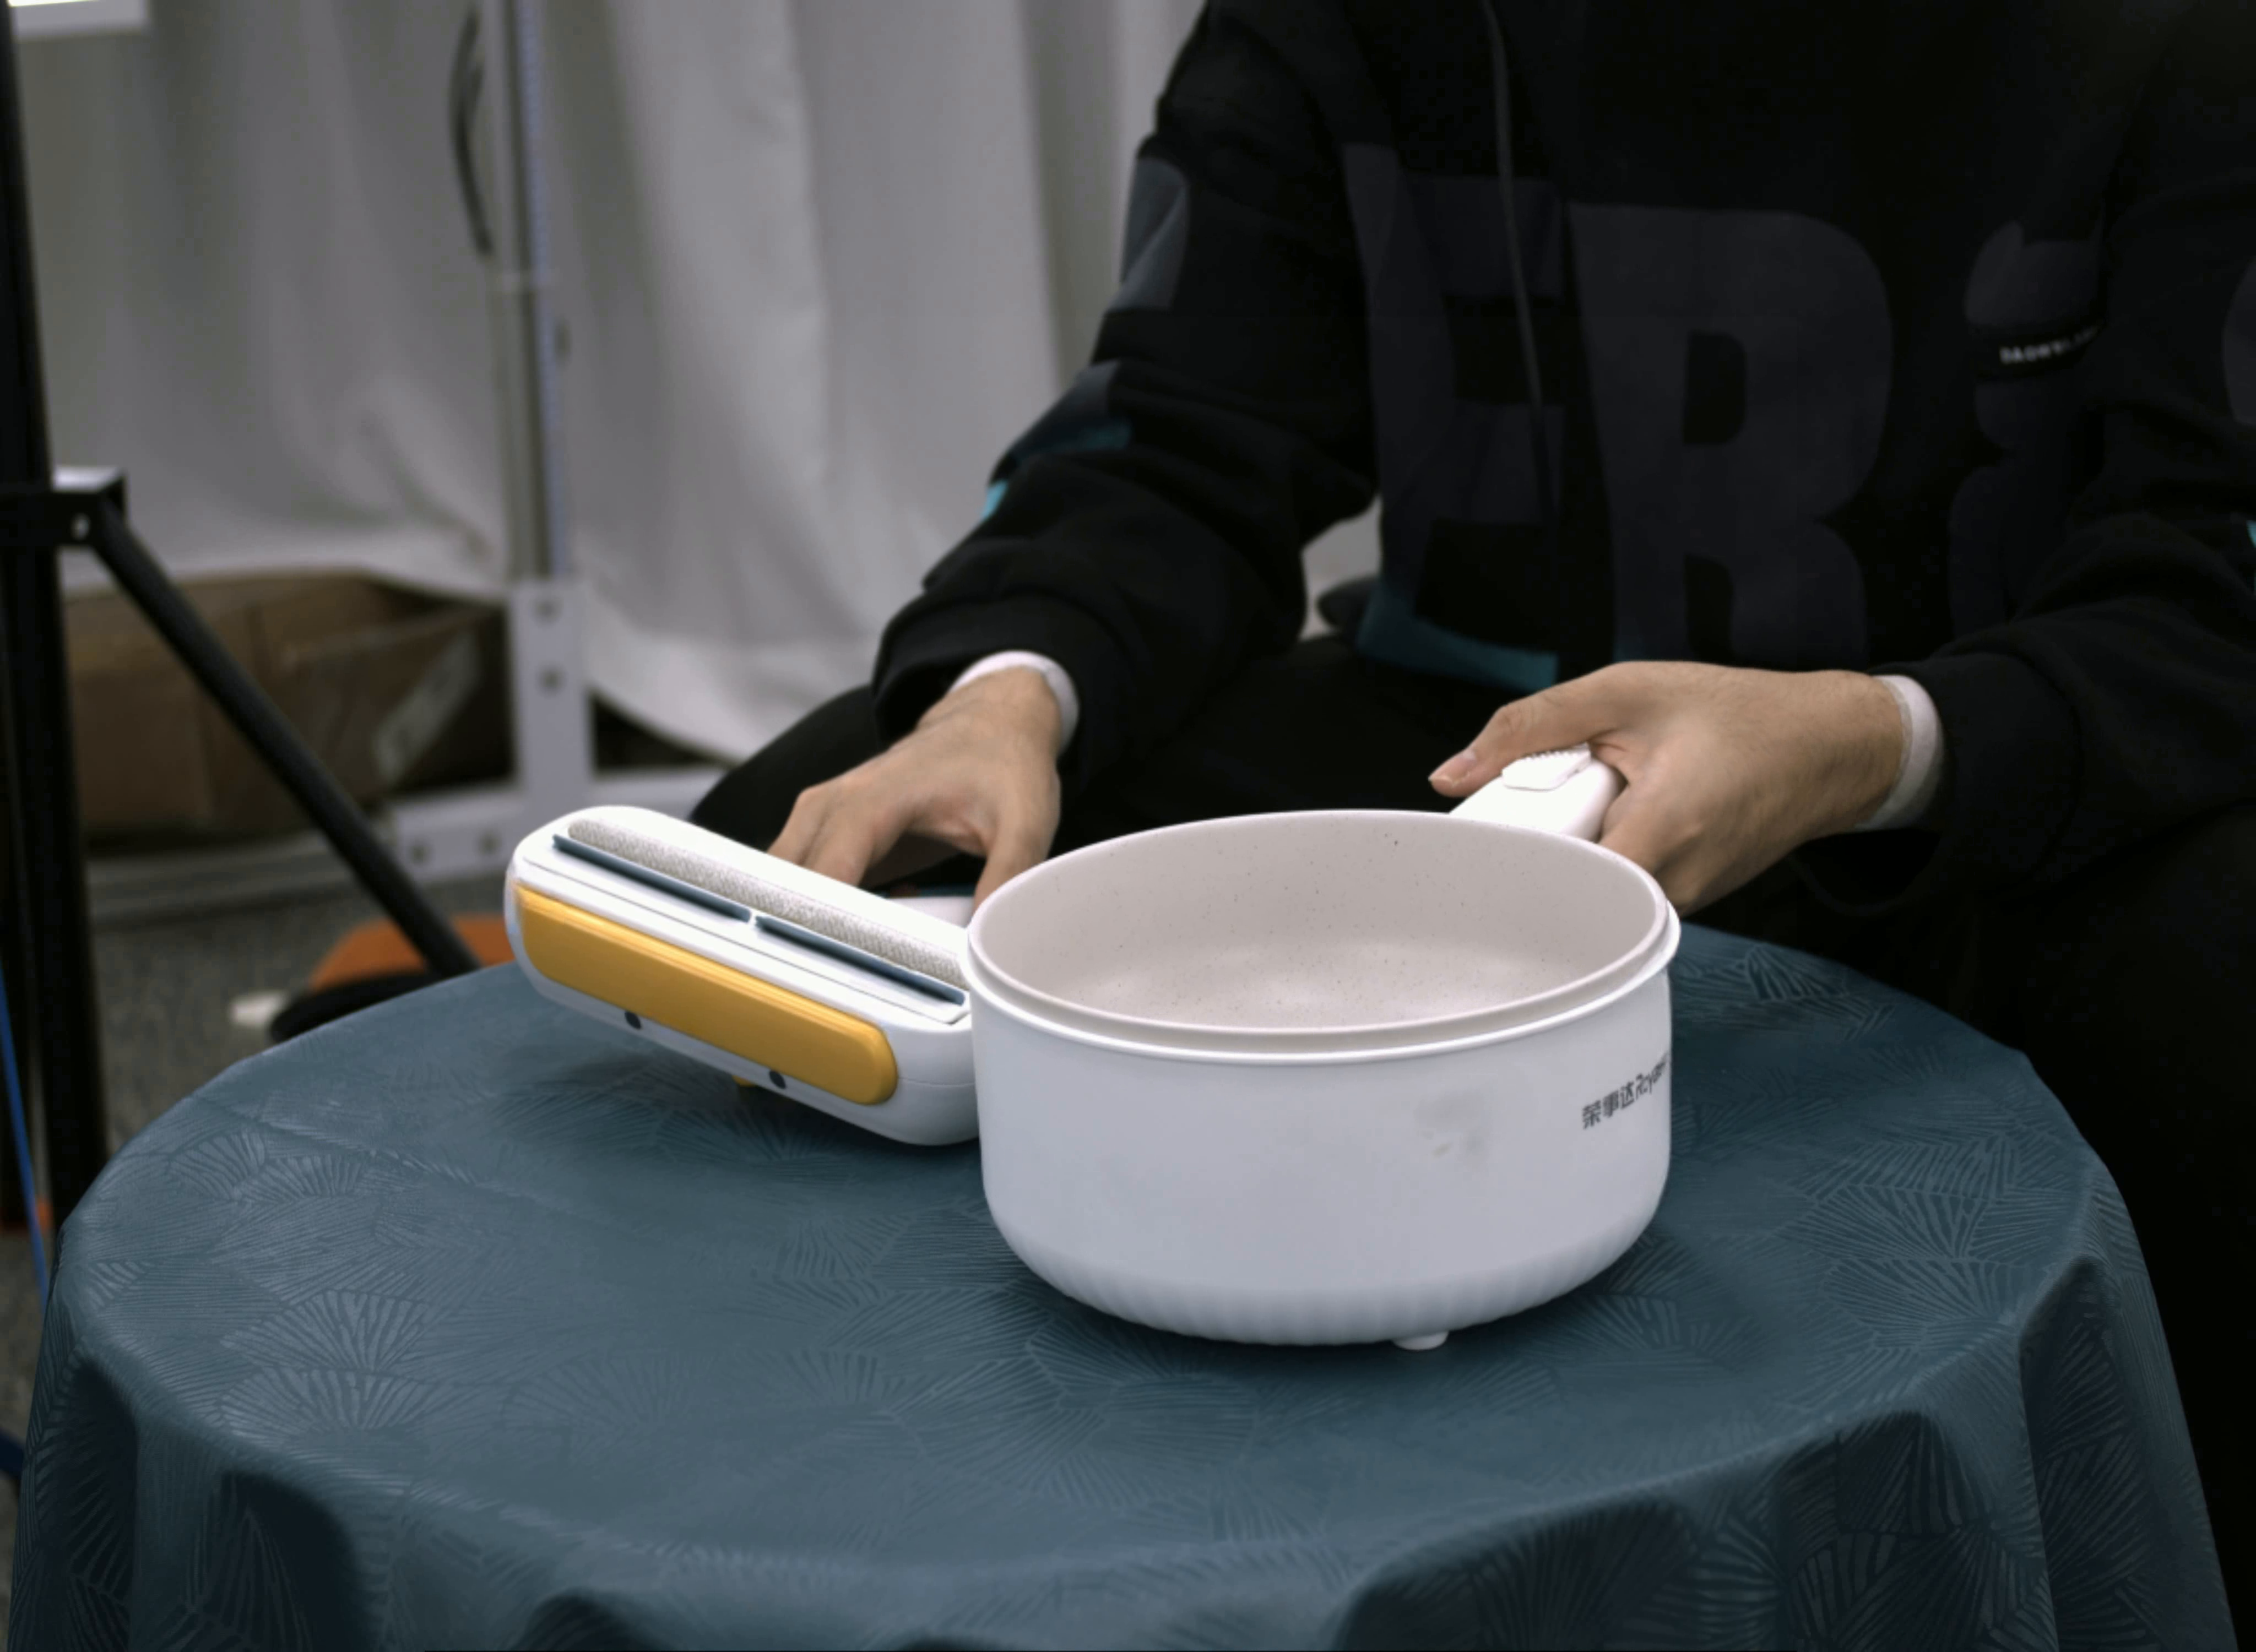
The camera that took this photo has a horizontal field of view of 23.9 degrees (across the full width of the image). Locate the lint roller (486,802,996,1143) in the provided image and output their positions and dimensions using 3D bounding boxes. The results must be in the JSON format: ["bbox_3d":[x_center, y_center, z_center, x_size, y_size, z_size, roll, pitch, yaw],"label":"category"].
[{"bbox_3d":[-0.080,0.038,1.695,0.197,0.074,0.188,16,22,37],"label":"lint roller"}]

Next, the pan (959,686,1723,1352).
[{"bbox_3d":[0.089,0.051,1.546,0.204,0.102,0.349,6,19,27],"label":"pan"}]
